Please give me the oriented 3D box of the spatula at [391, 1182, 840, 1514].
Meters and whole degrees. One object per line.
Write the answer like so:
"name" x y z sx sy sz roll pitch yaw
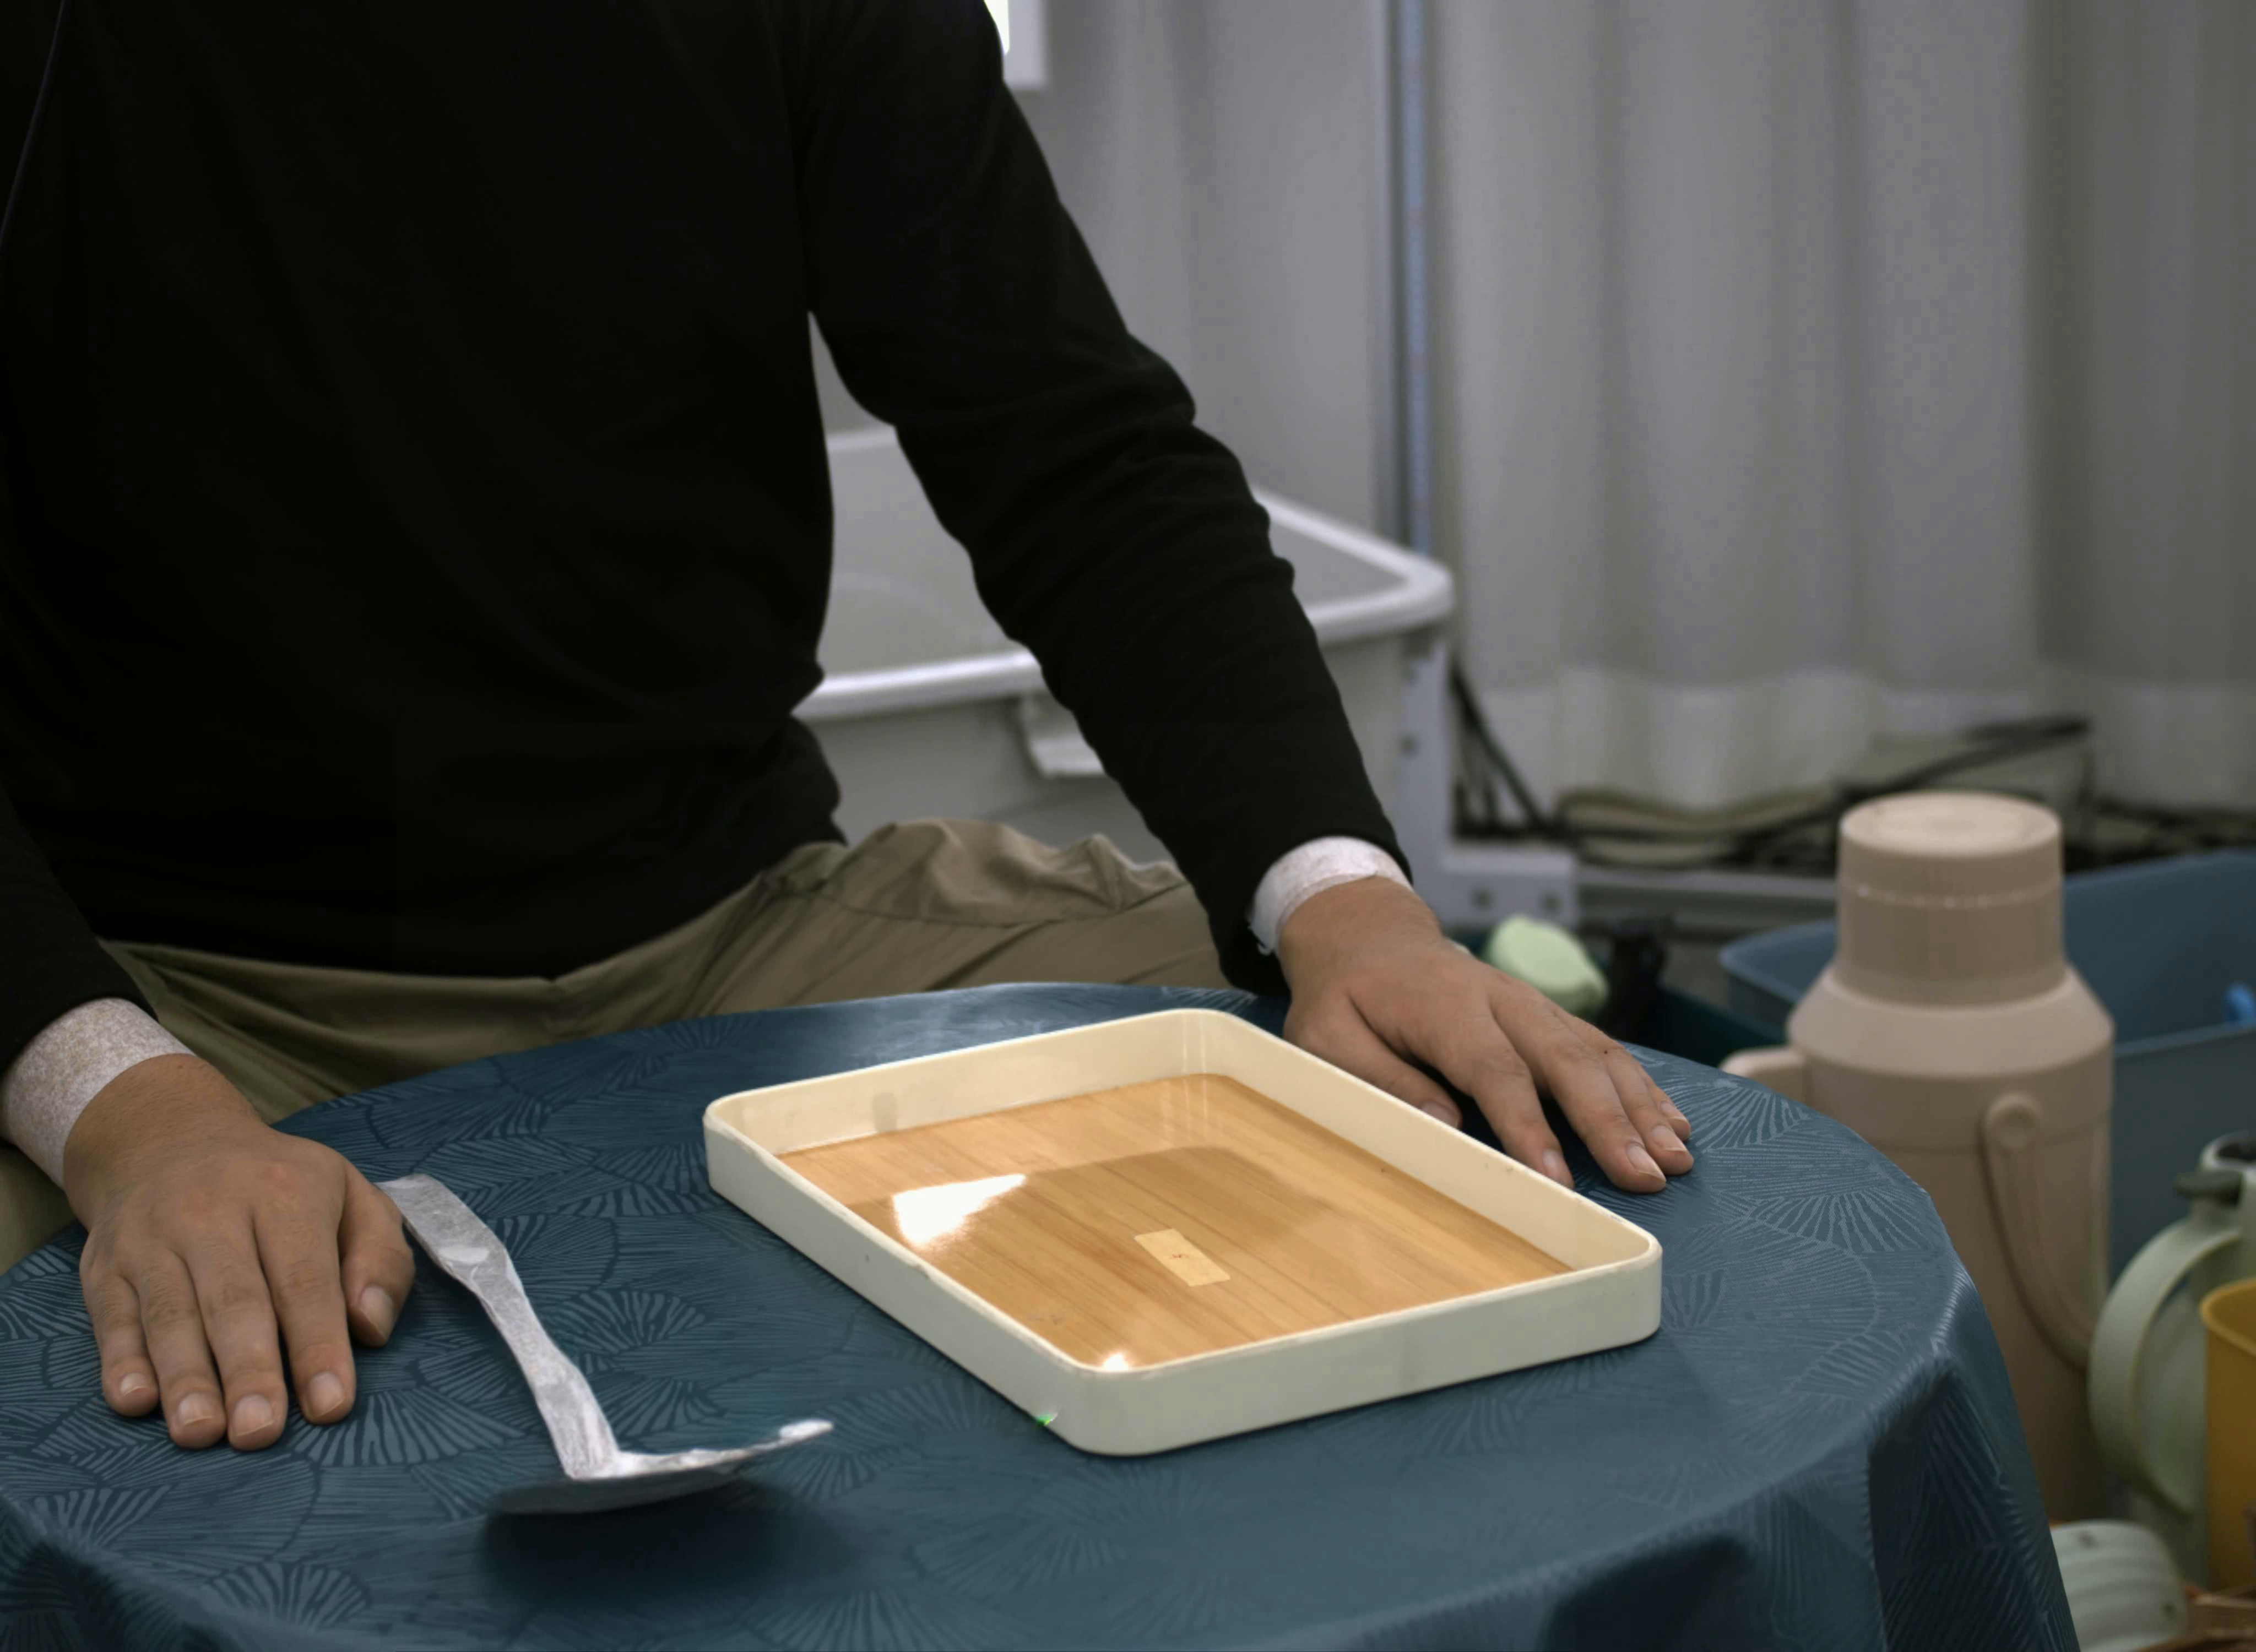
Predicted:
"spatula" -0.172 0.141 1.574 0.098 0.044 0.368 -8 16 -17

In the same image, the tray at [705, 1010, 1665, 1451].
"tray" 0.010 0.117 1.651 0.191 0.027 0.302 -10 16 -24
